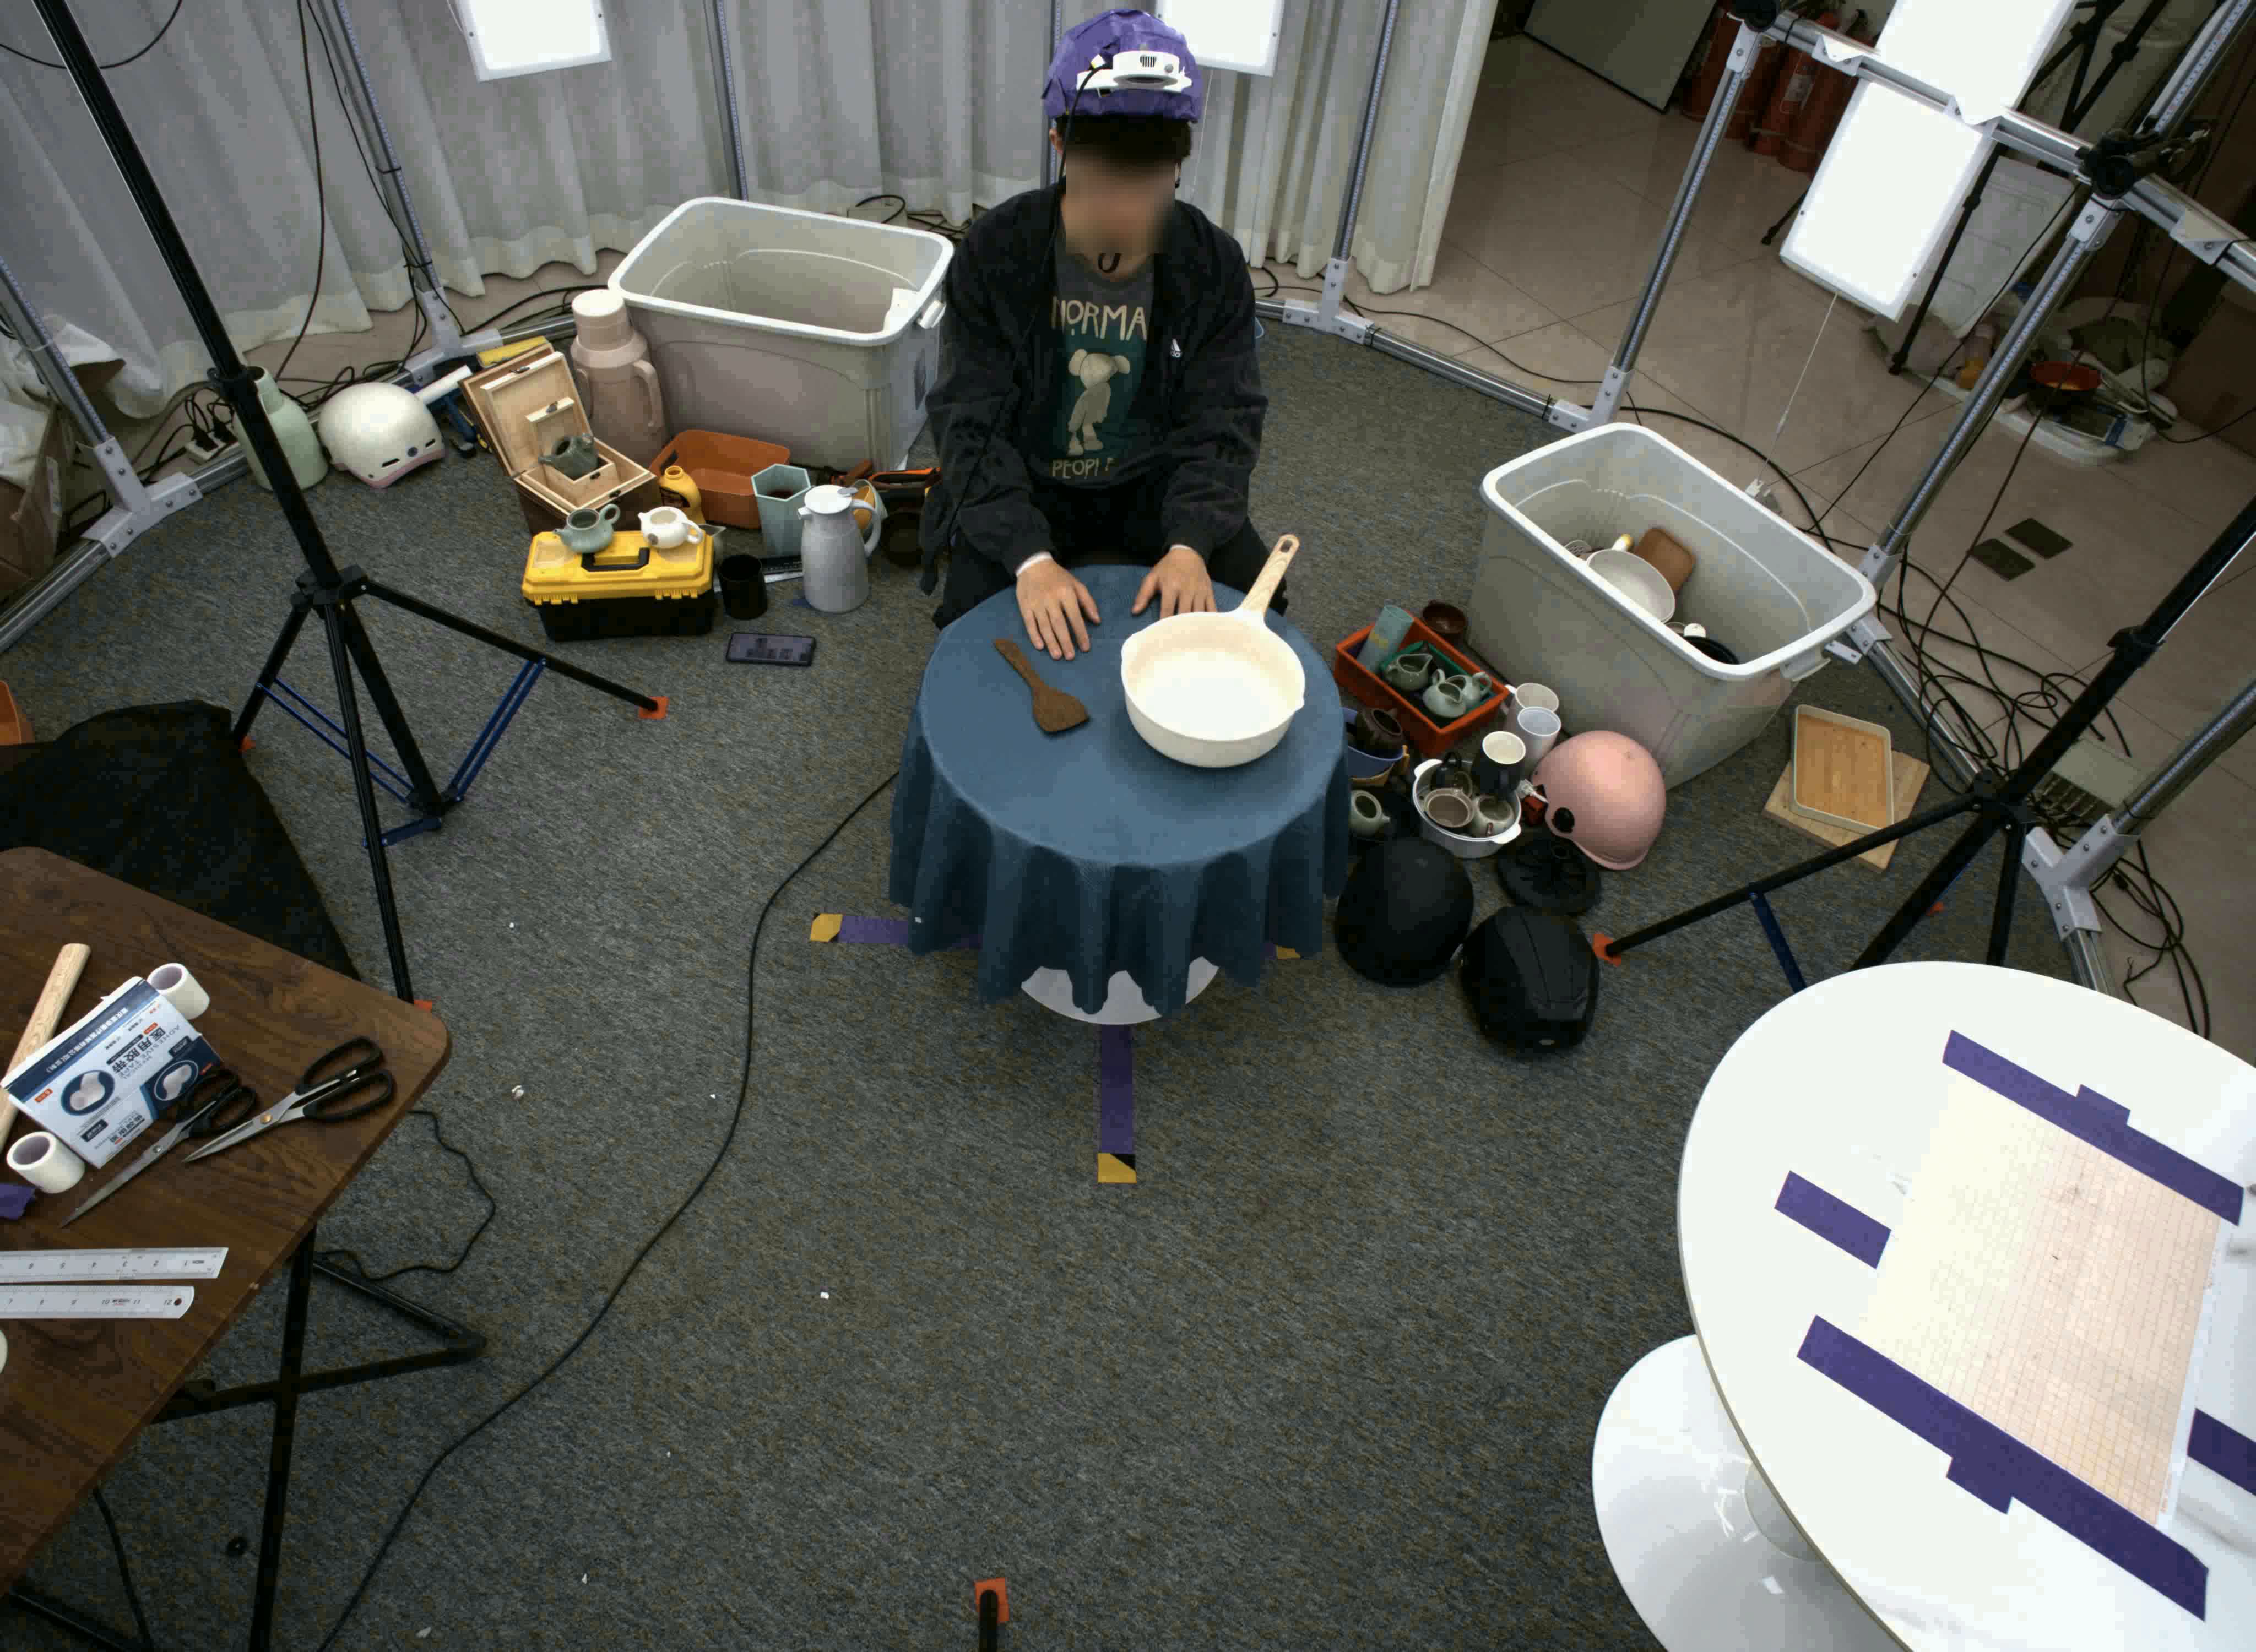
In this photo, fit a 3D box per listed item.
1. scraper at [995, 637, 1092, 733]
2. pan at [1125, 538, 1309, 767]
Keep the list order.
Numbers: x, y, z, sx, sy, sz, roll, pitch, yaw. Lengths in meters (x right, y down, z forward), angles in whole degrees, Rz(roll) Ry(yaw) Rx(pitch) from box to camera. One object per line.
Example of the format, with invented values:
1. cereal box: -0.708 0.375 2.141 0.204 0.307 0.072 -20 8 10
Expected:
1. scraper: -0.131 -0.205 1.832 0.076 0.010 0.216 -22 53 -22
2. pan: 0.157 -0.250 1.831 0.265 0.099 0.443 19 50 15
